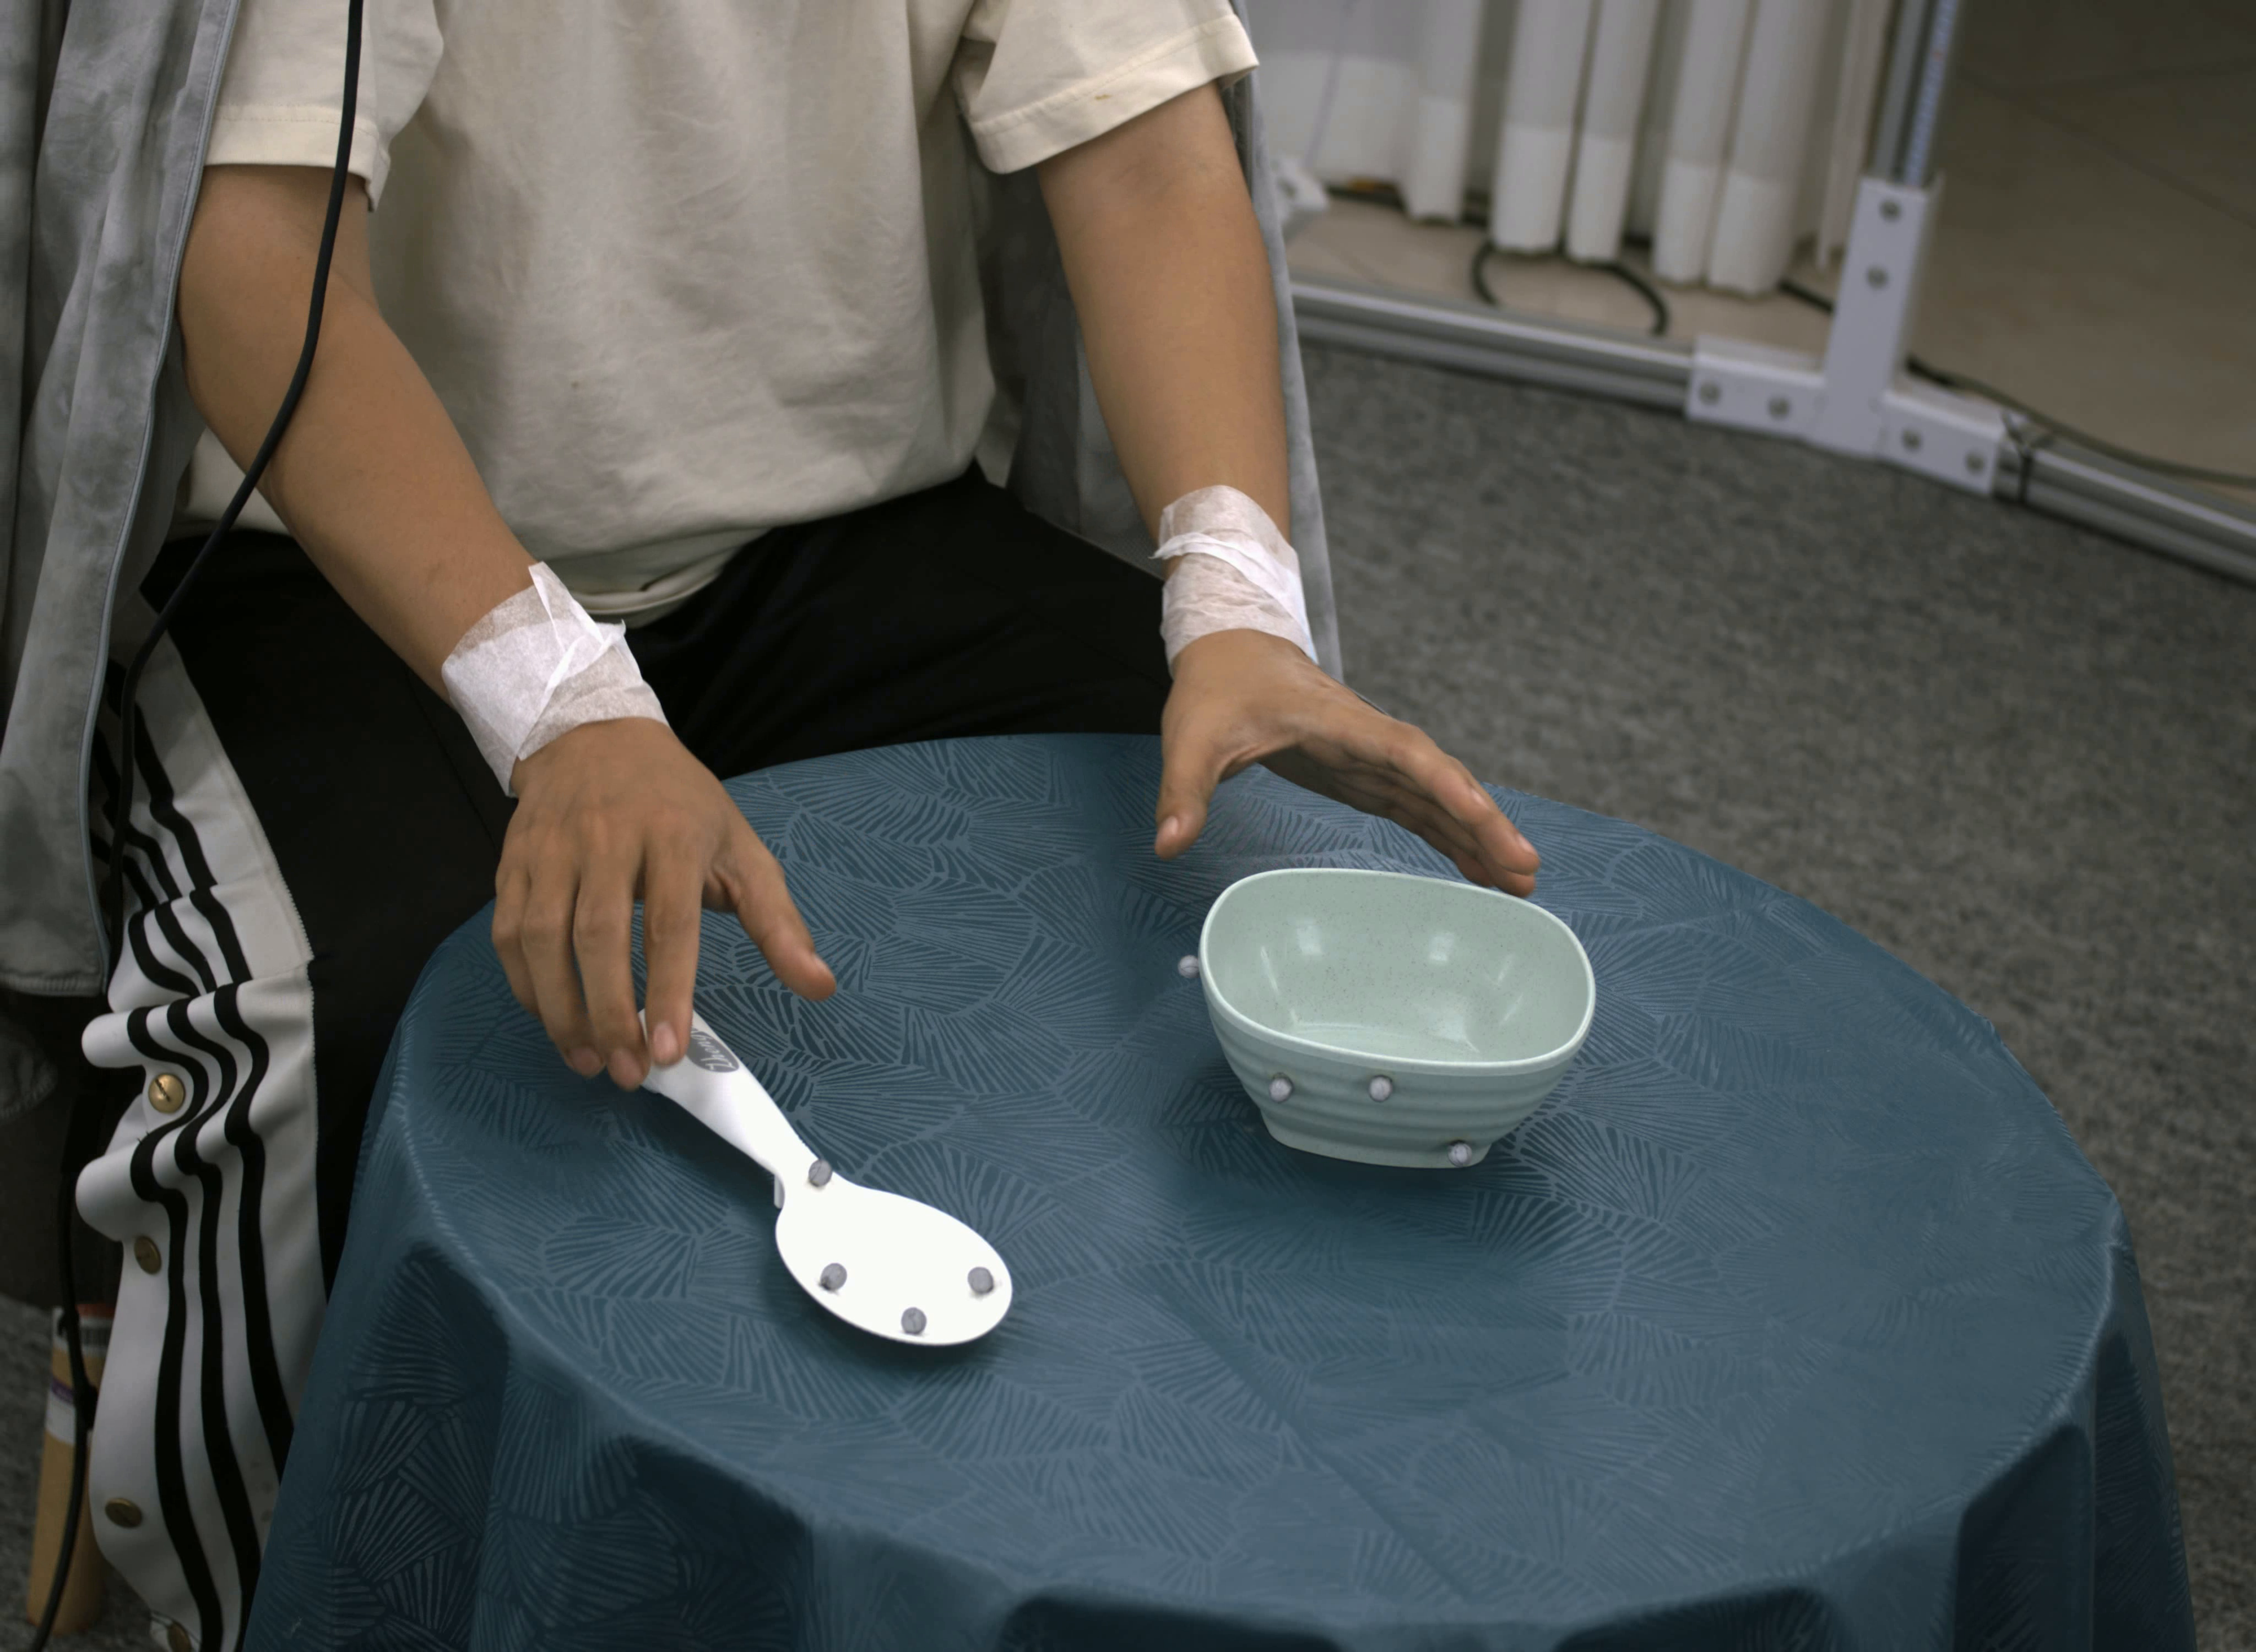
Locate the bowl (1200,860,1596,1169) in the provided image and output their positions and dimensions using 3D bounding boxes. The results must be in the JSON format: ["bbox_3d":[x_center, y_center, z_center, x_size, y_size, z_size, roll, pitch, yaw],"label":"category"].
[{"bbox_3d":[0.091,0.072,1.862,0.151,0.058,0.152,4,30,-3],"label":"bowl"}]

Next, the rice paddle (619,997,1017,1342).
[{"bbox_3d":[-0.106,0.116,1.763,0.068,0.029,0.207,-13,33,-31],"label":"rice paddle"}]
